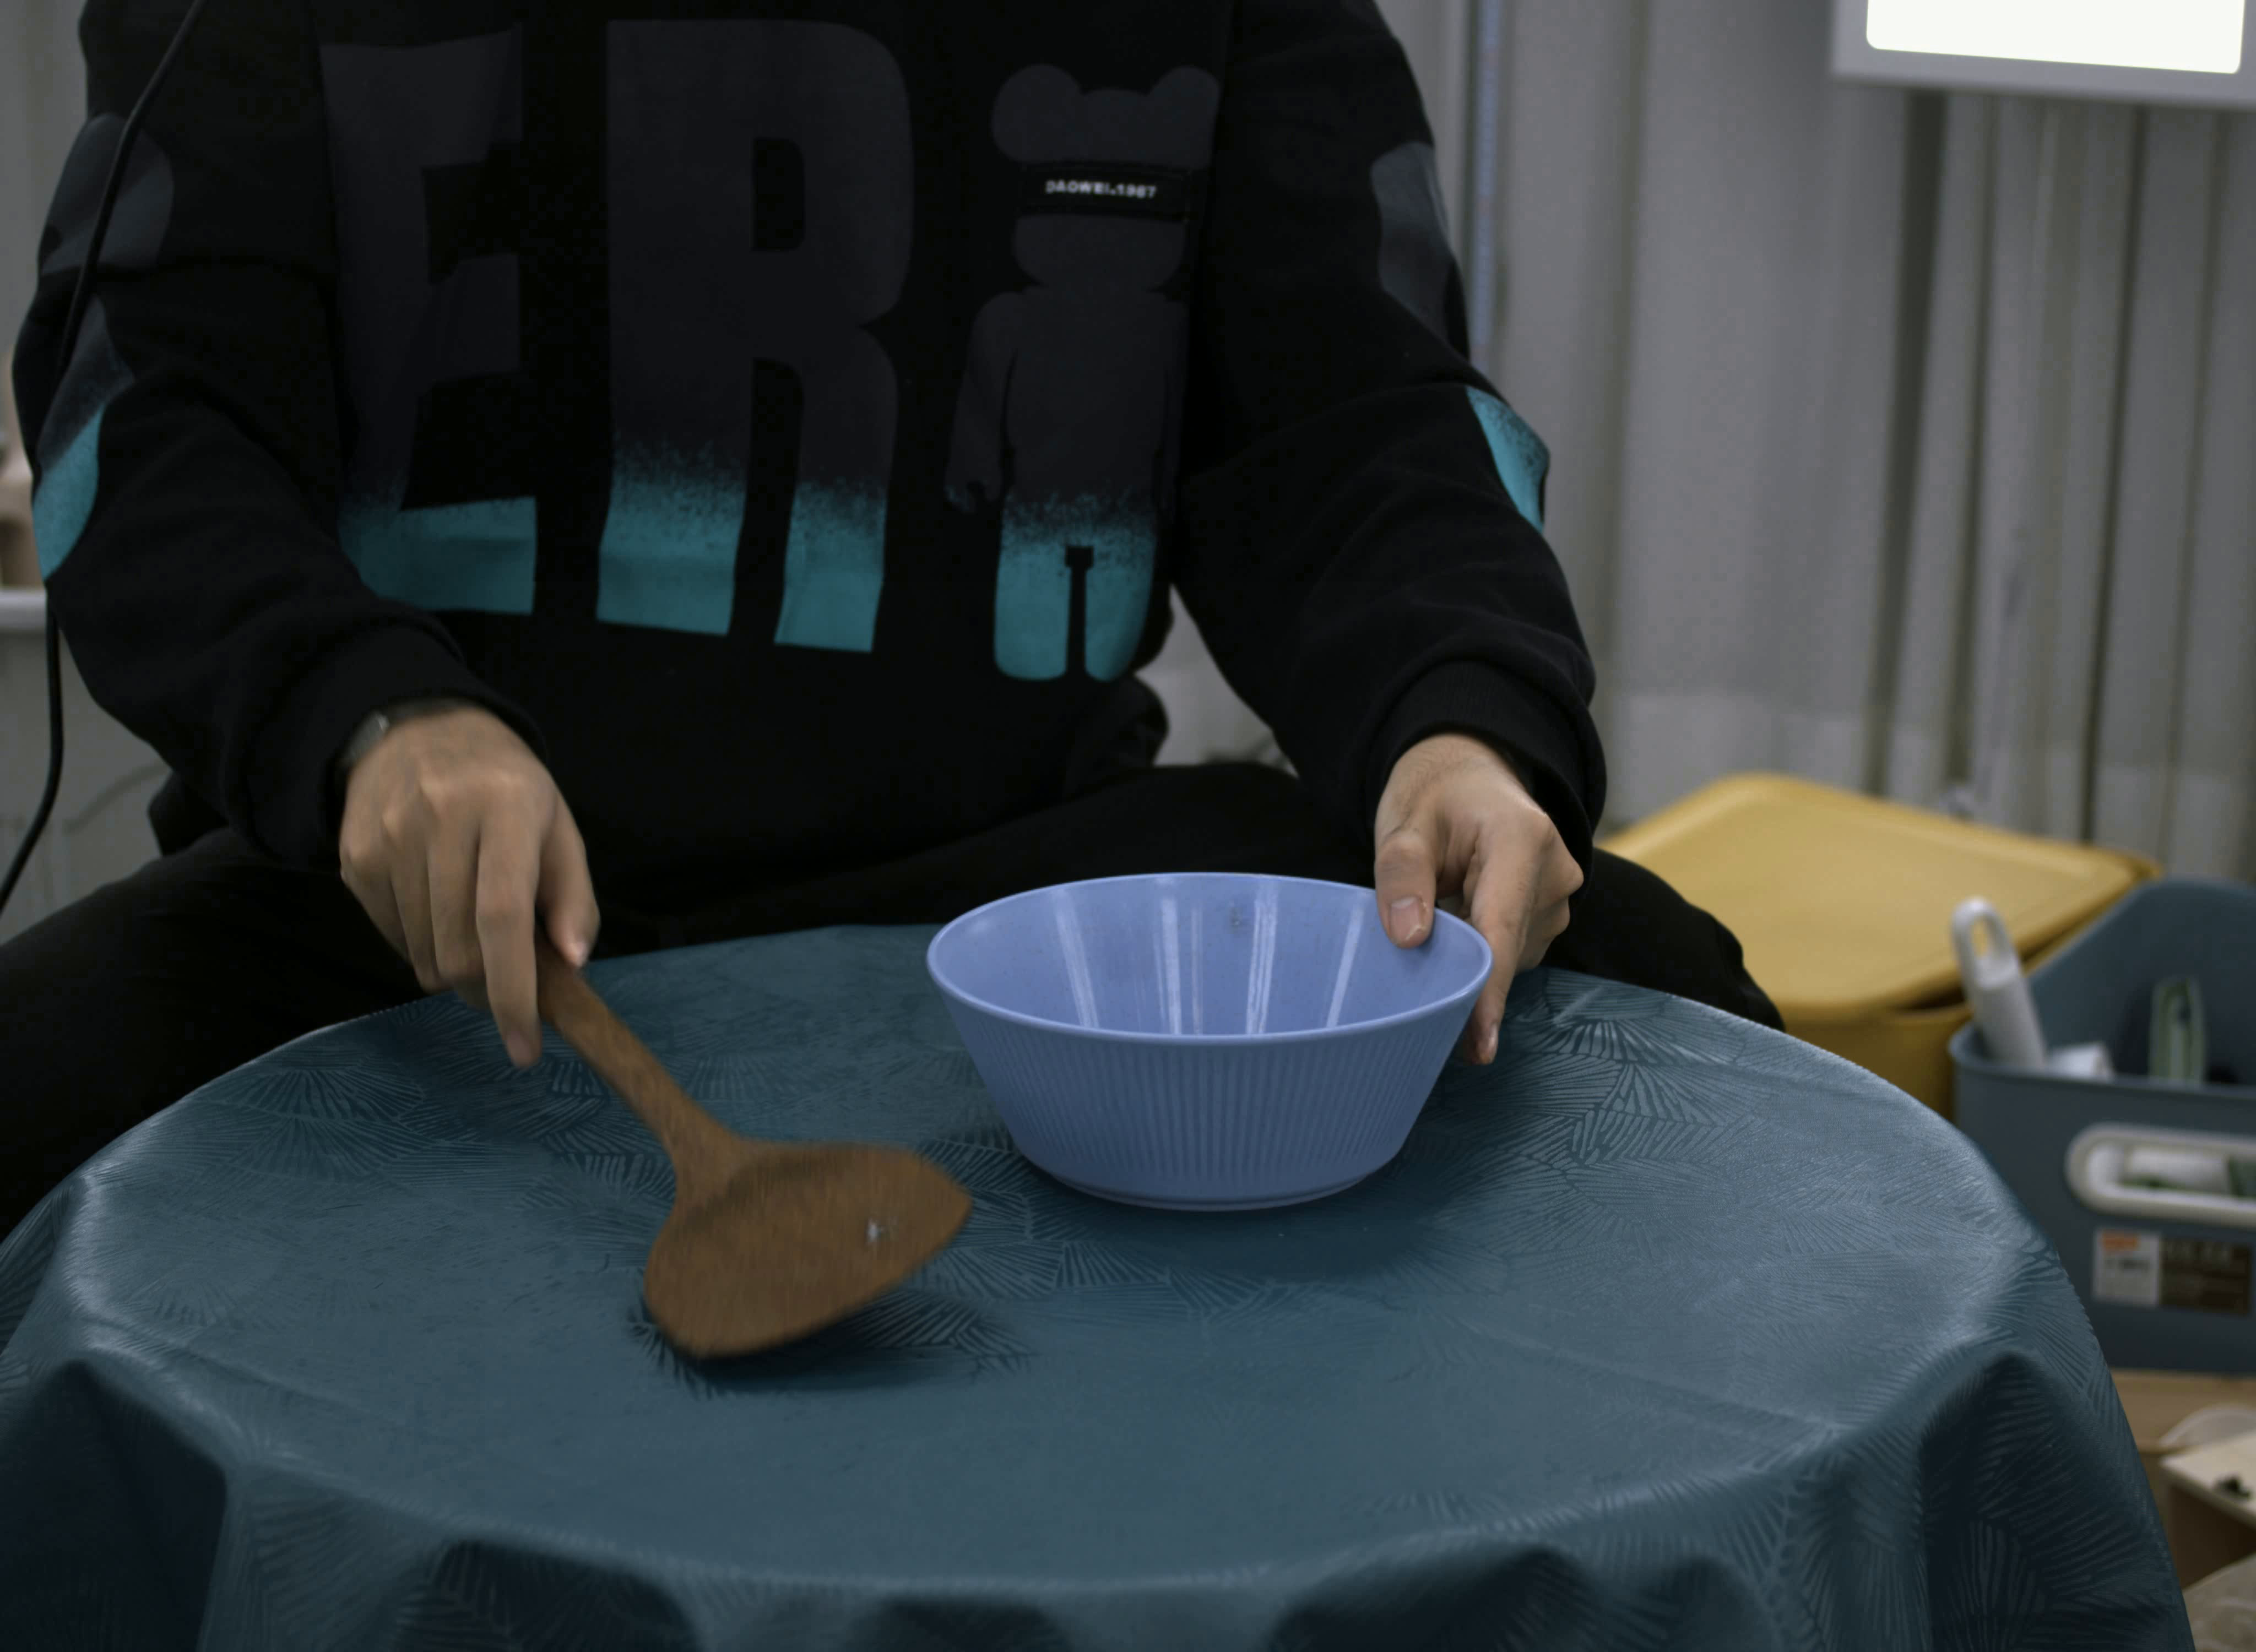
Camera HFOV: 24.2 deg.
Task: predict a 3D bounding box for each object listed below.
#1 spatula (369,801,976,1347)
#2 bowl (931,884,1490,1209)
[{"bbox_3d":[-0.161,0.063,1.624,0.096,0.016,0.380,-29,33,-16],"label":"spatula"},{"bbox_3d":[0.026,0.071,1.648,0.175,0.071,0.175,1,14,0],"label":"bowl"}]
